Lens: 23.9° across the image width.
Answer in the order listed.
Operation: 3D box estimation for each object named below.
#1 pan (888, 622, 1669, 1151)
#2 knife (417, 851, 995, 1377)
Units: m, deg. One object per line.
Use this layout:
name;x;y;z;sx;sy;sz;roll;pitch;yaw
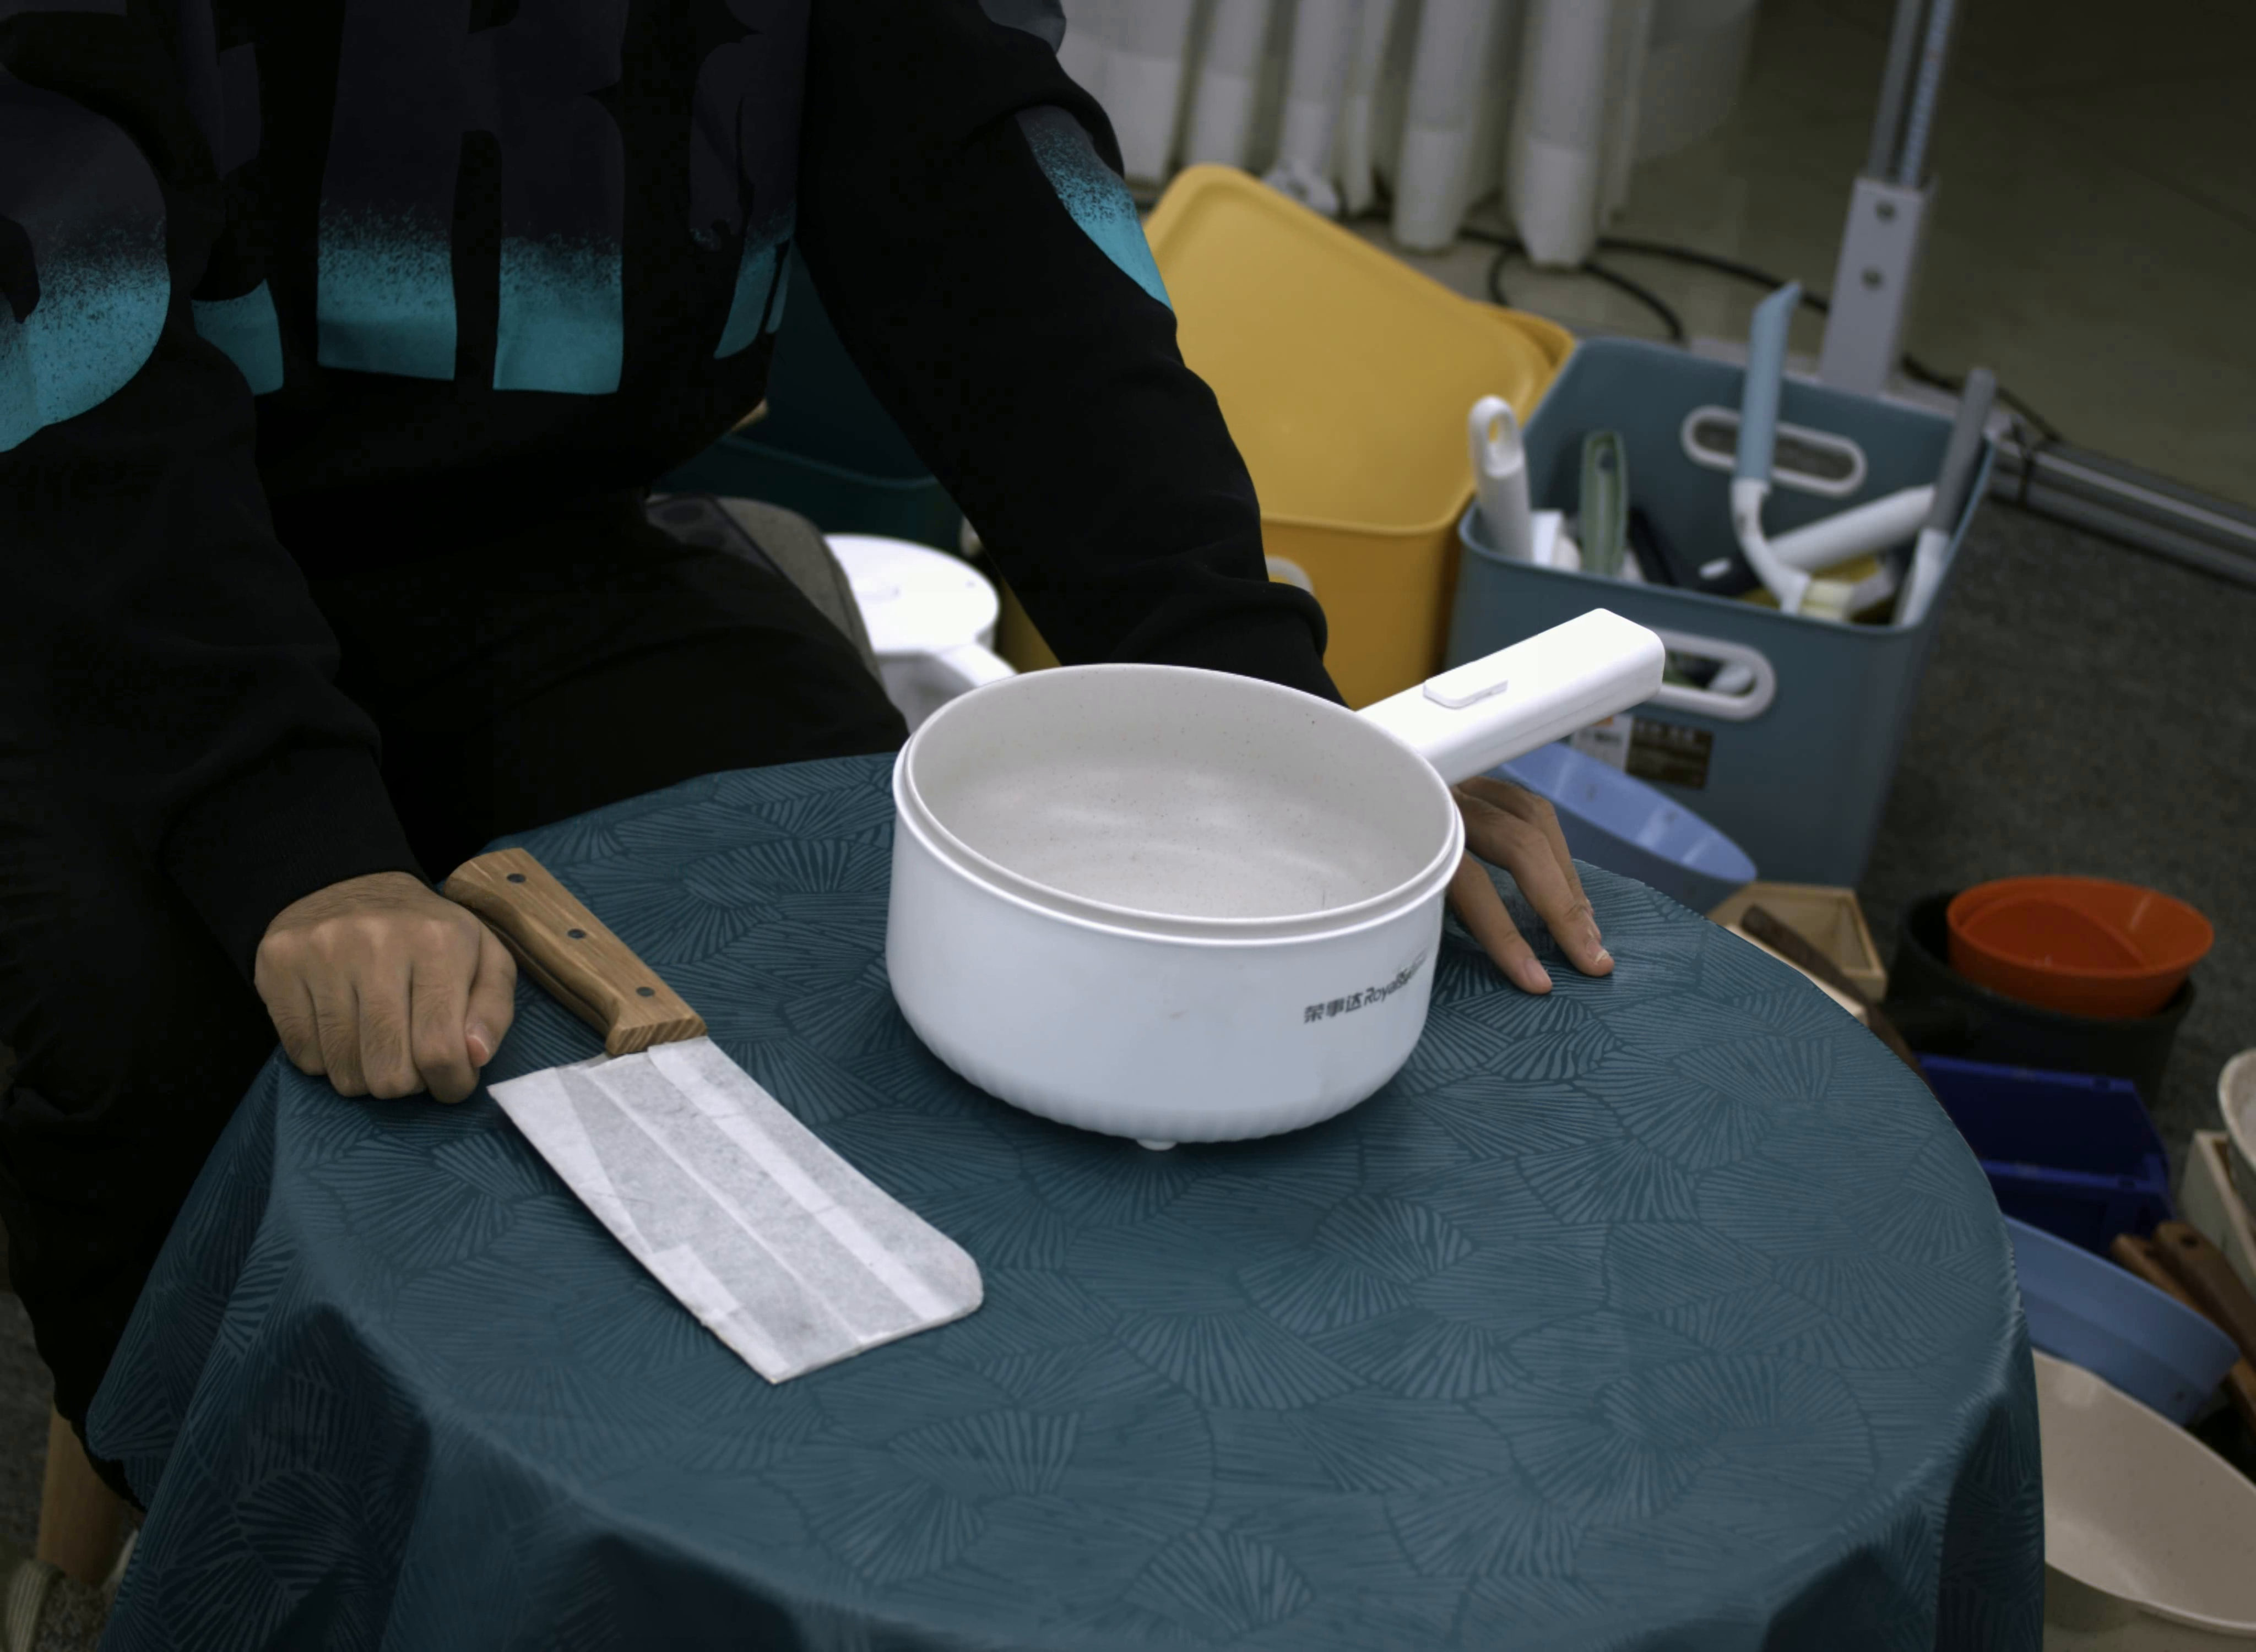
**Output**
pan;0.066;0.013;1.929;0.202;0.102;0.353;26;32;37
knife;-0.157;0.093;1.808;0.113;0.021;0.318;-11;34;-30
